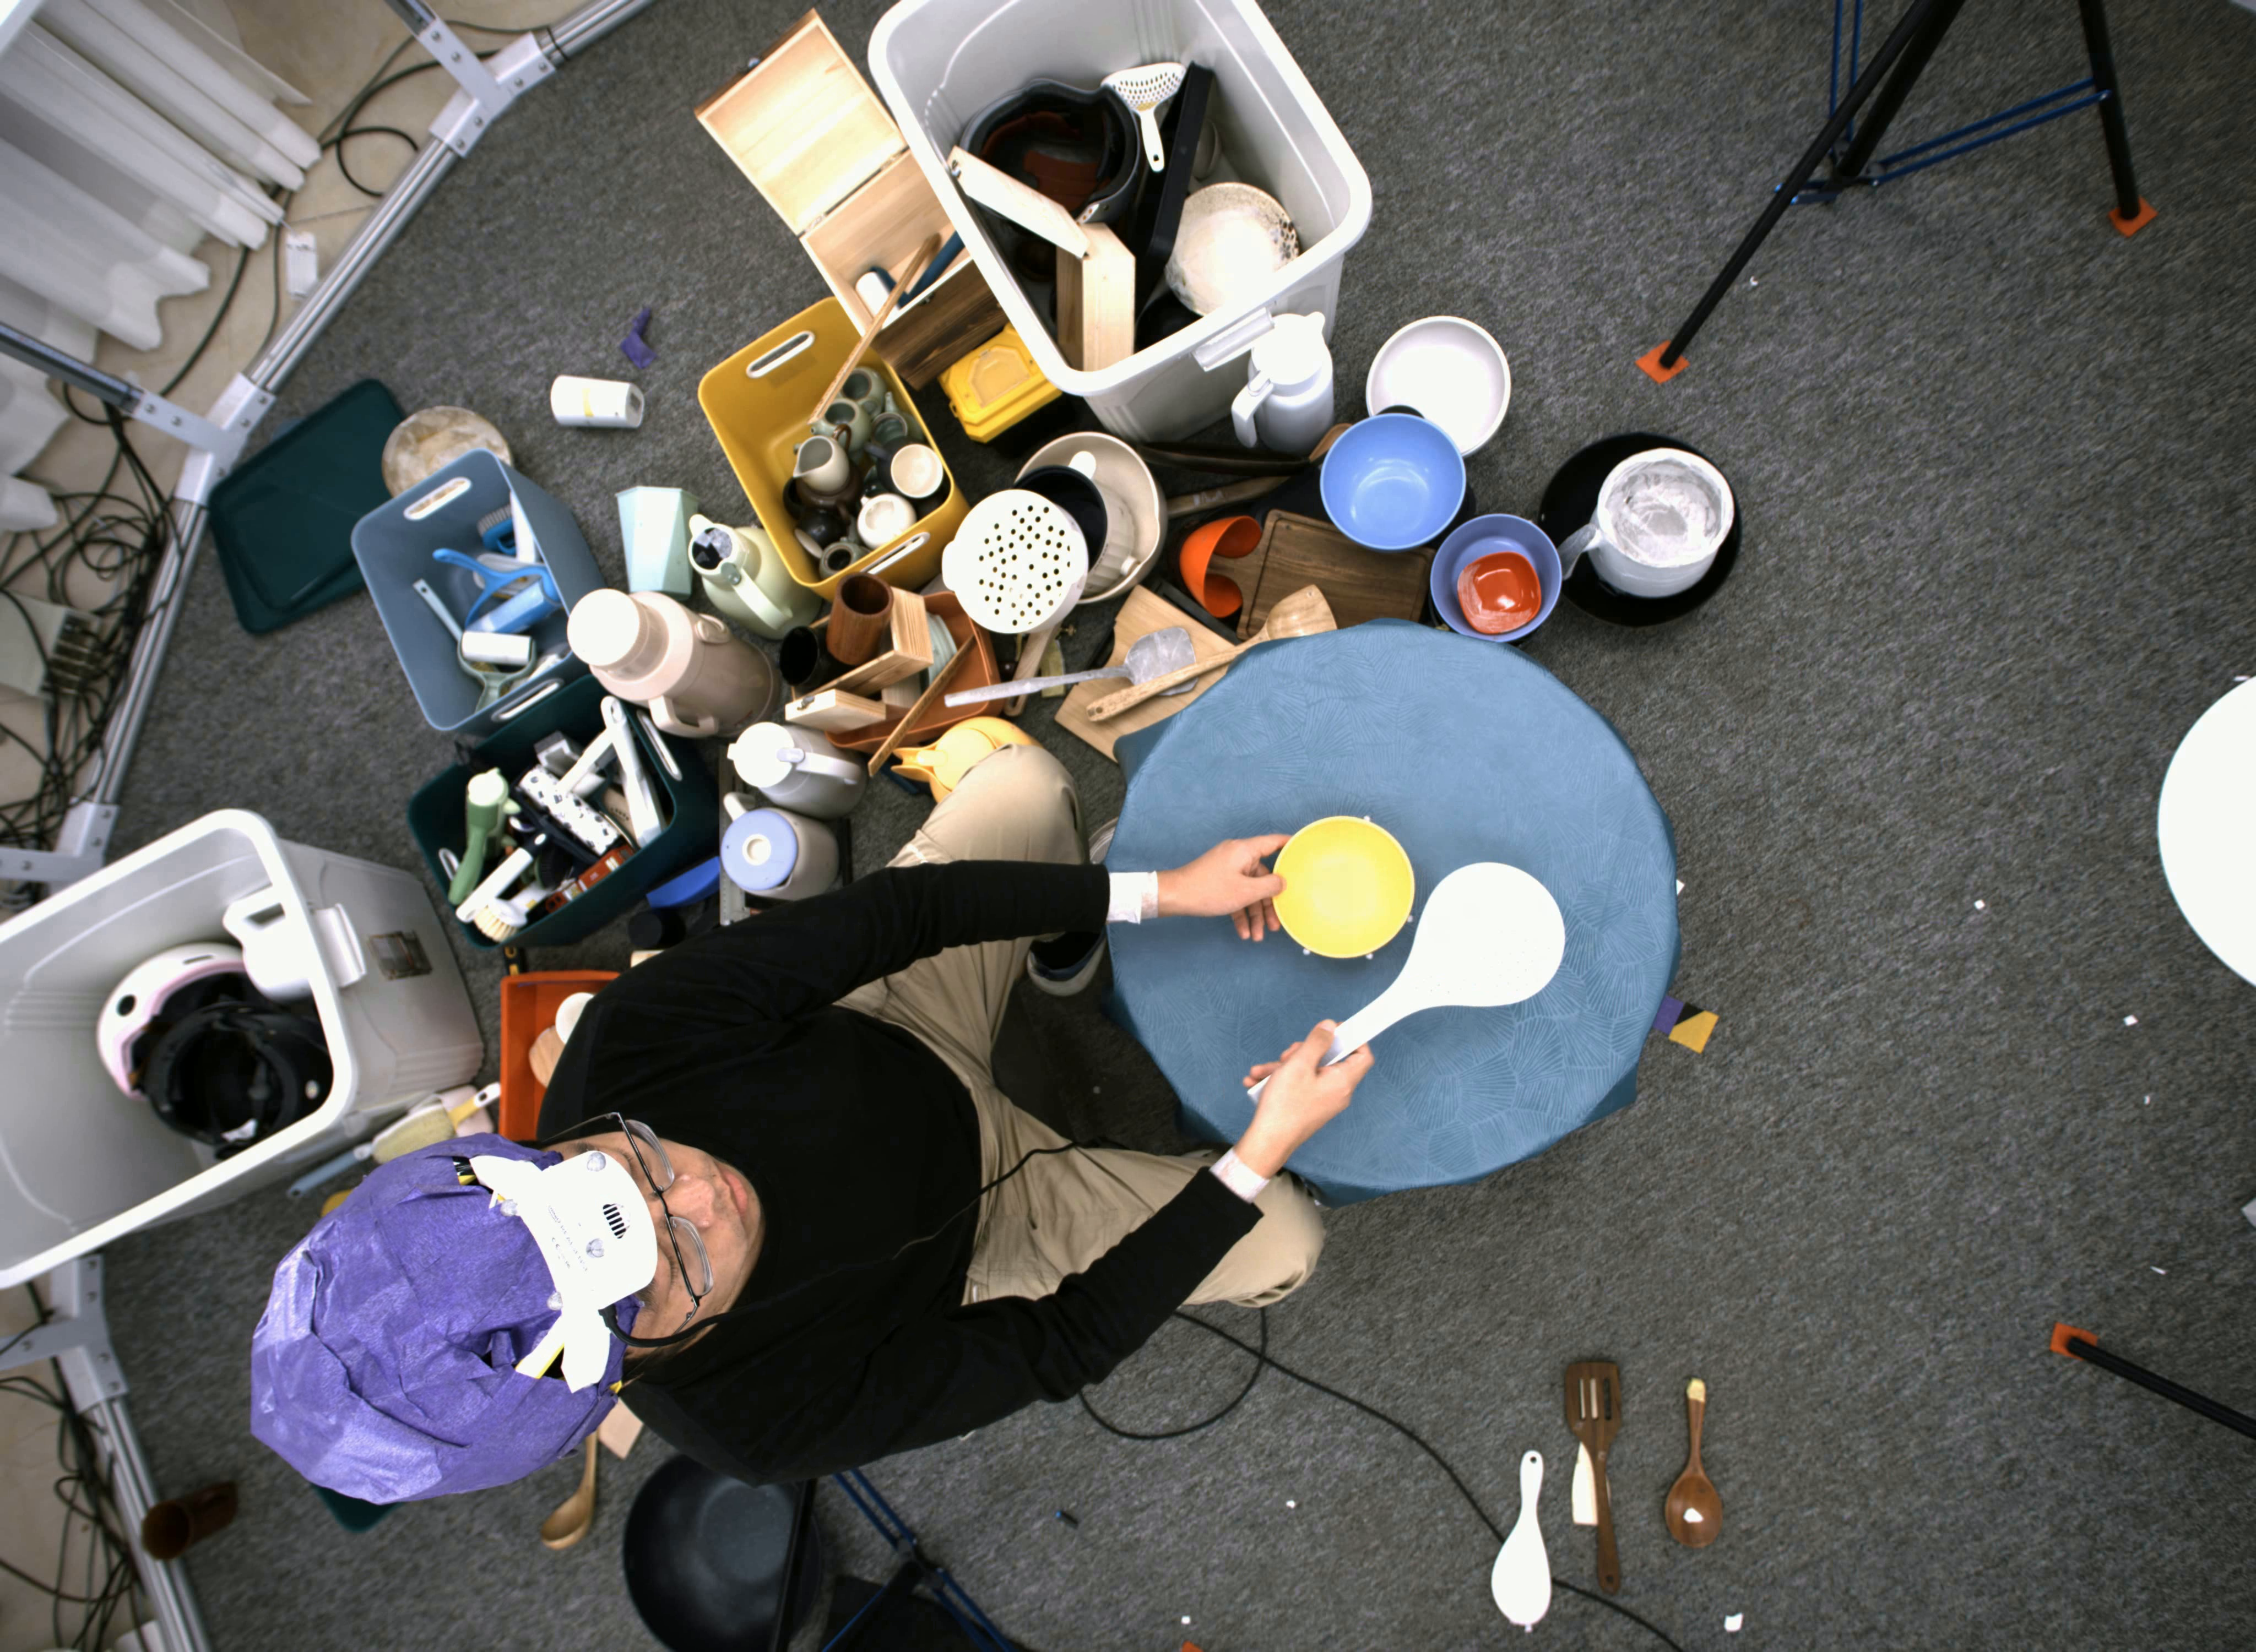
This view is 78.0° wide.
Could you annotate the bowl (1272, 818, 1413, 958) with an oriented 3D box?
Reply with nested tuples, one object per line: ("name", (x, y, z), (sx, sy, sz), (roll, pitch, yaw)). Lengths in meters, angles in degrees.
("bowl", (0.224, 0.066, 1.442), (0.146, 0.060, 0.144), (-1, 84, 11))

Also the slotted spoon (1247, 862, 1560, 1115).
("slotted spoon", (0.260, 0.163, 1.323), (0.347, 0.046, 0.135), (-35, 83, -9))
